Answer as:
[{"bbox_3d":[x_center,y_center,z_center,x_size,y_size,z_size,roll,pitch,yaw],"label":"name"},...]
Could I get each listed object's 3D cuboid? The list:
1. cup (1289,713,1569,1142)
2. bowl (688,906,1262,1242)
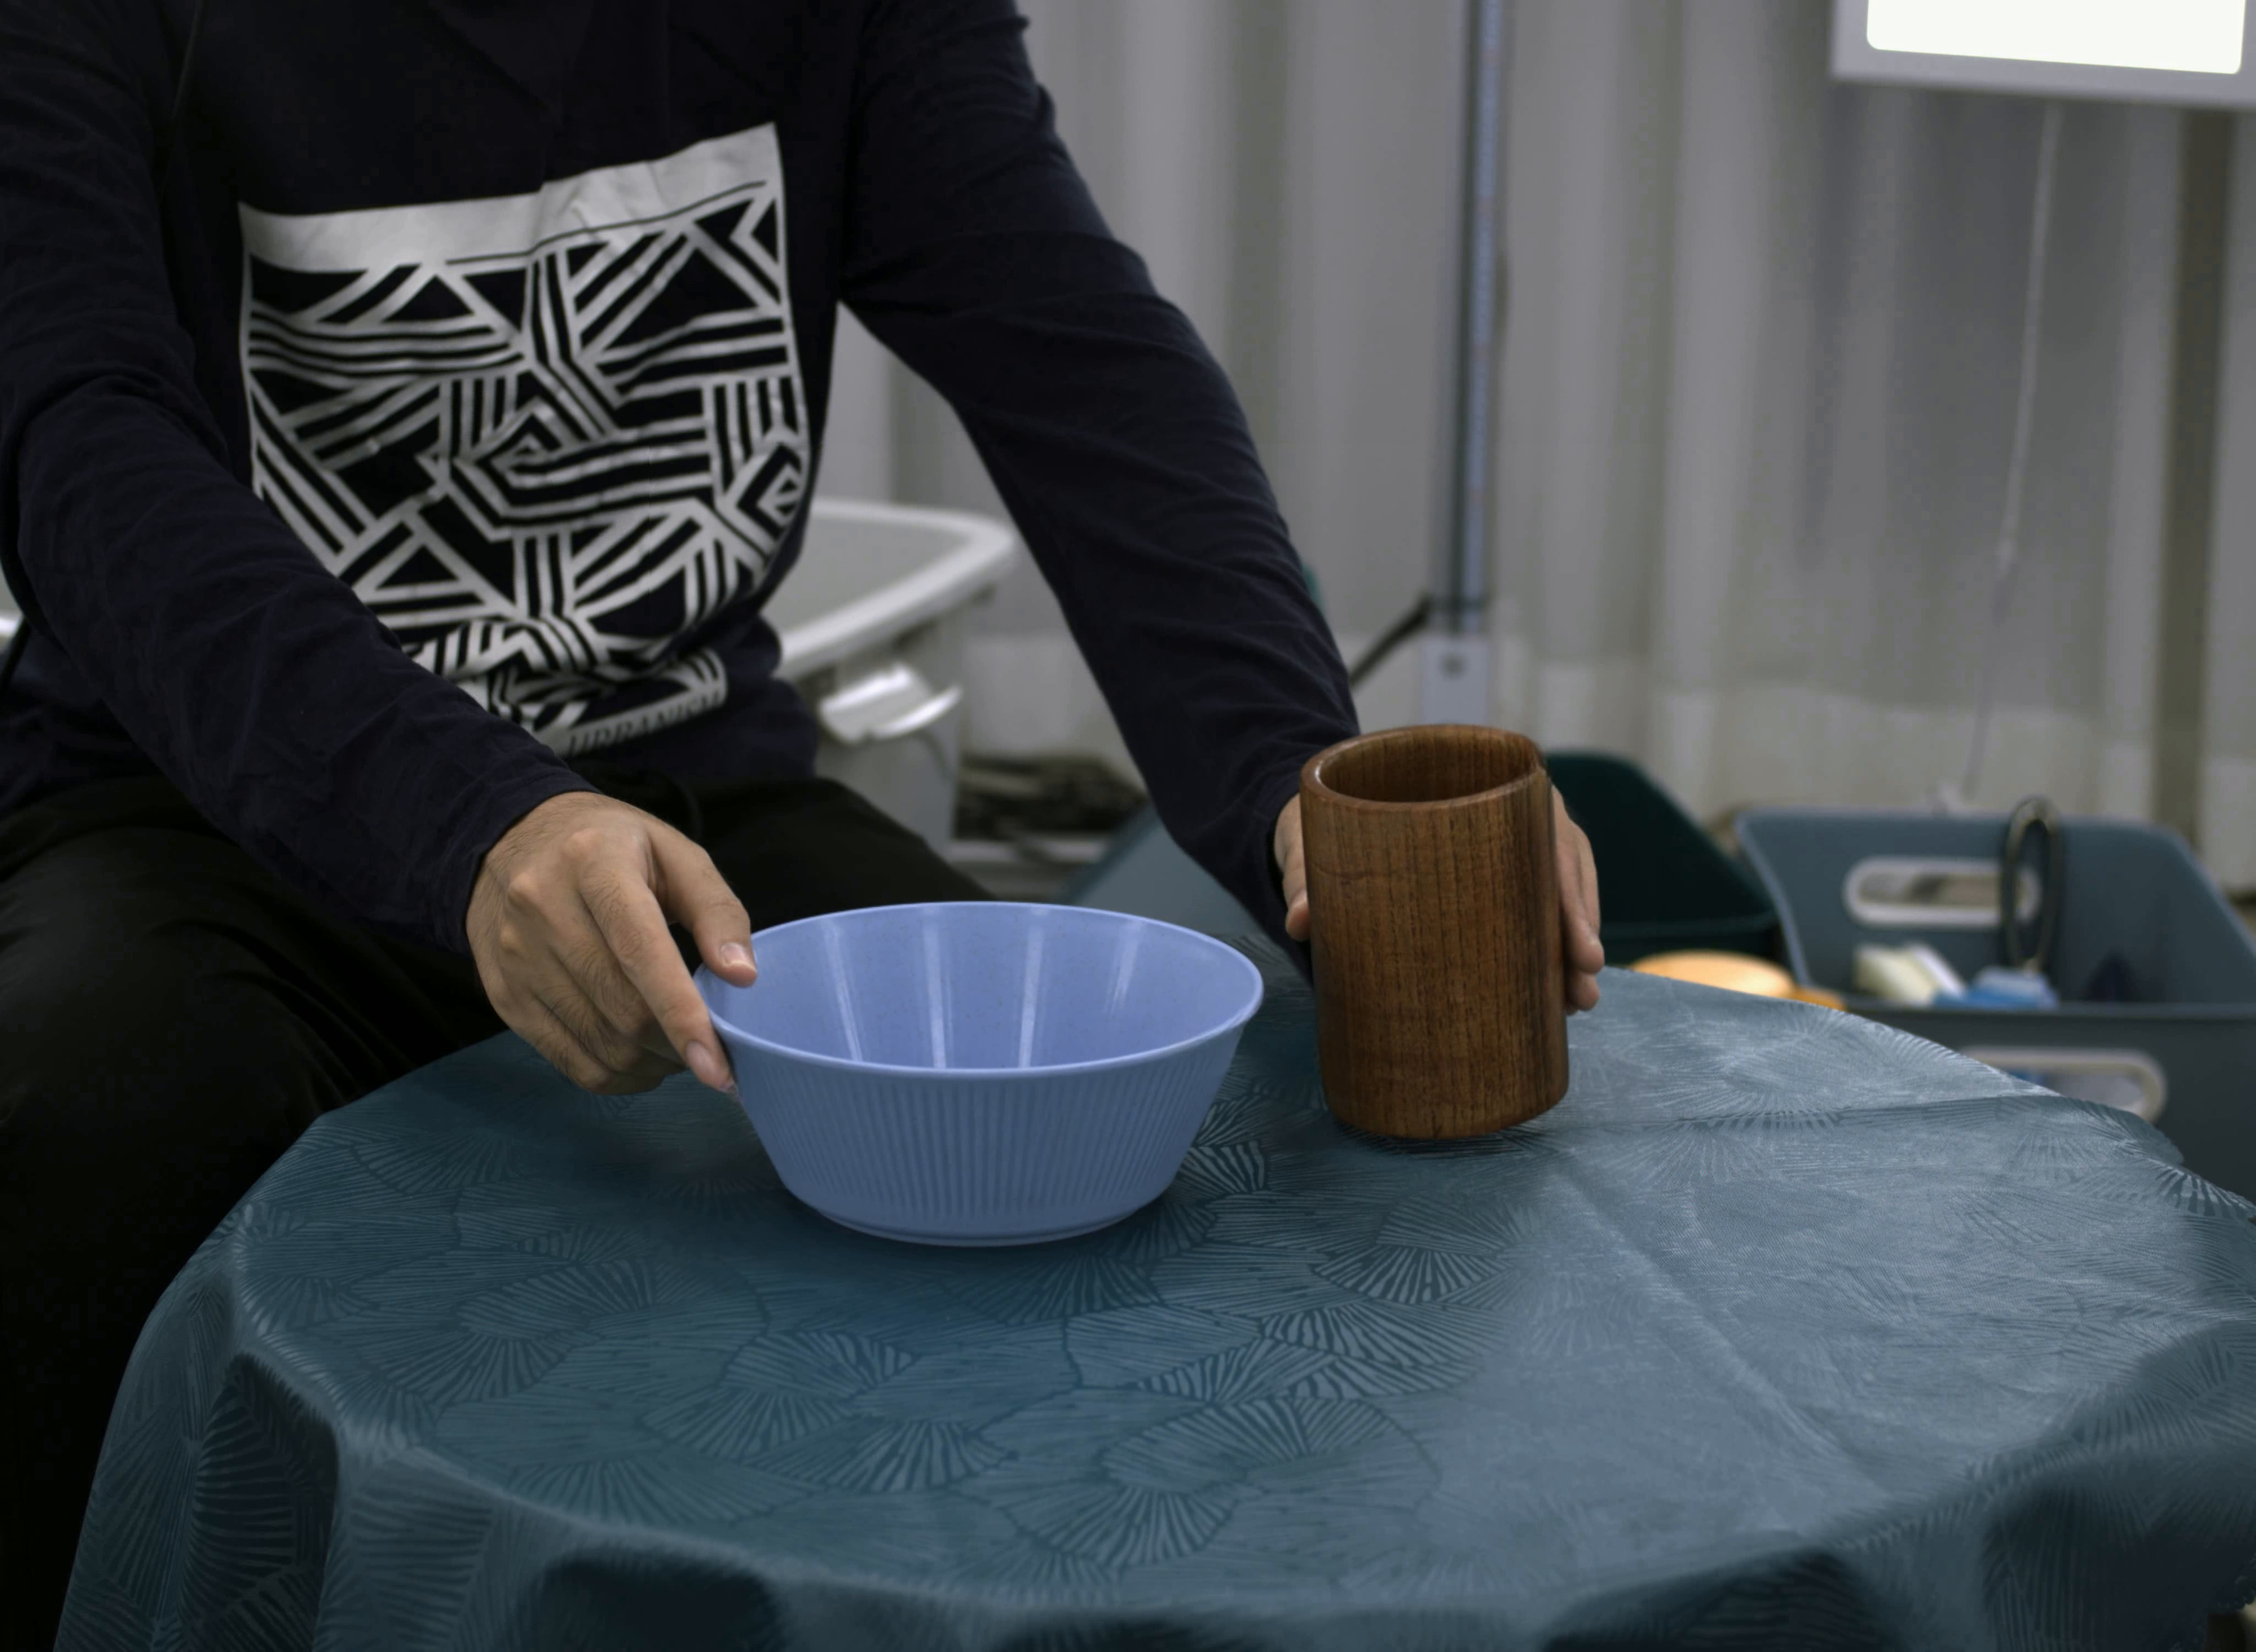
[{"bbox_3d":[0.097,0.032,1.666,0.087,0.119,0.087,-4,18,2],"label":"cup"},{"bbox_3d":[-0.047,0.078,1.615,0.175,0.071,0.175,1,15,0],"label":"bowl"}]
